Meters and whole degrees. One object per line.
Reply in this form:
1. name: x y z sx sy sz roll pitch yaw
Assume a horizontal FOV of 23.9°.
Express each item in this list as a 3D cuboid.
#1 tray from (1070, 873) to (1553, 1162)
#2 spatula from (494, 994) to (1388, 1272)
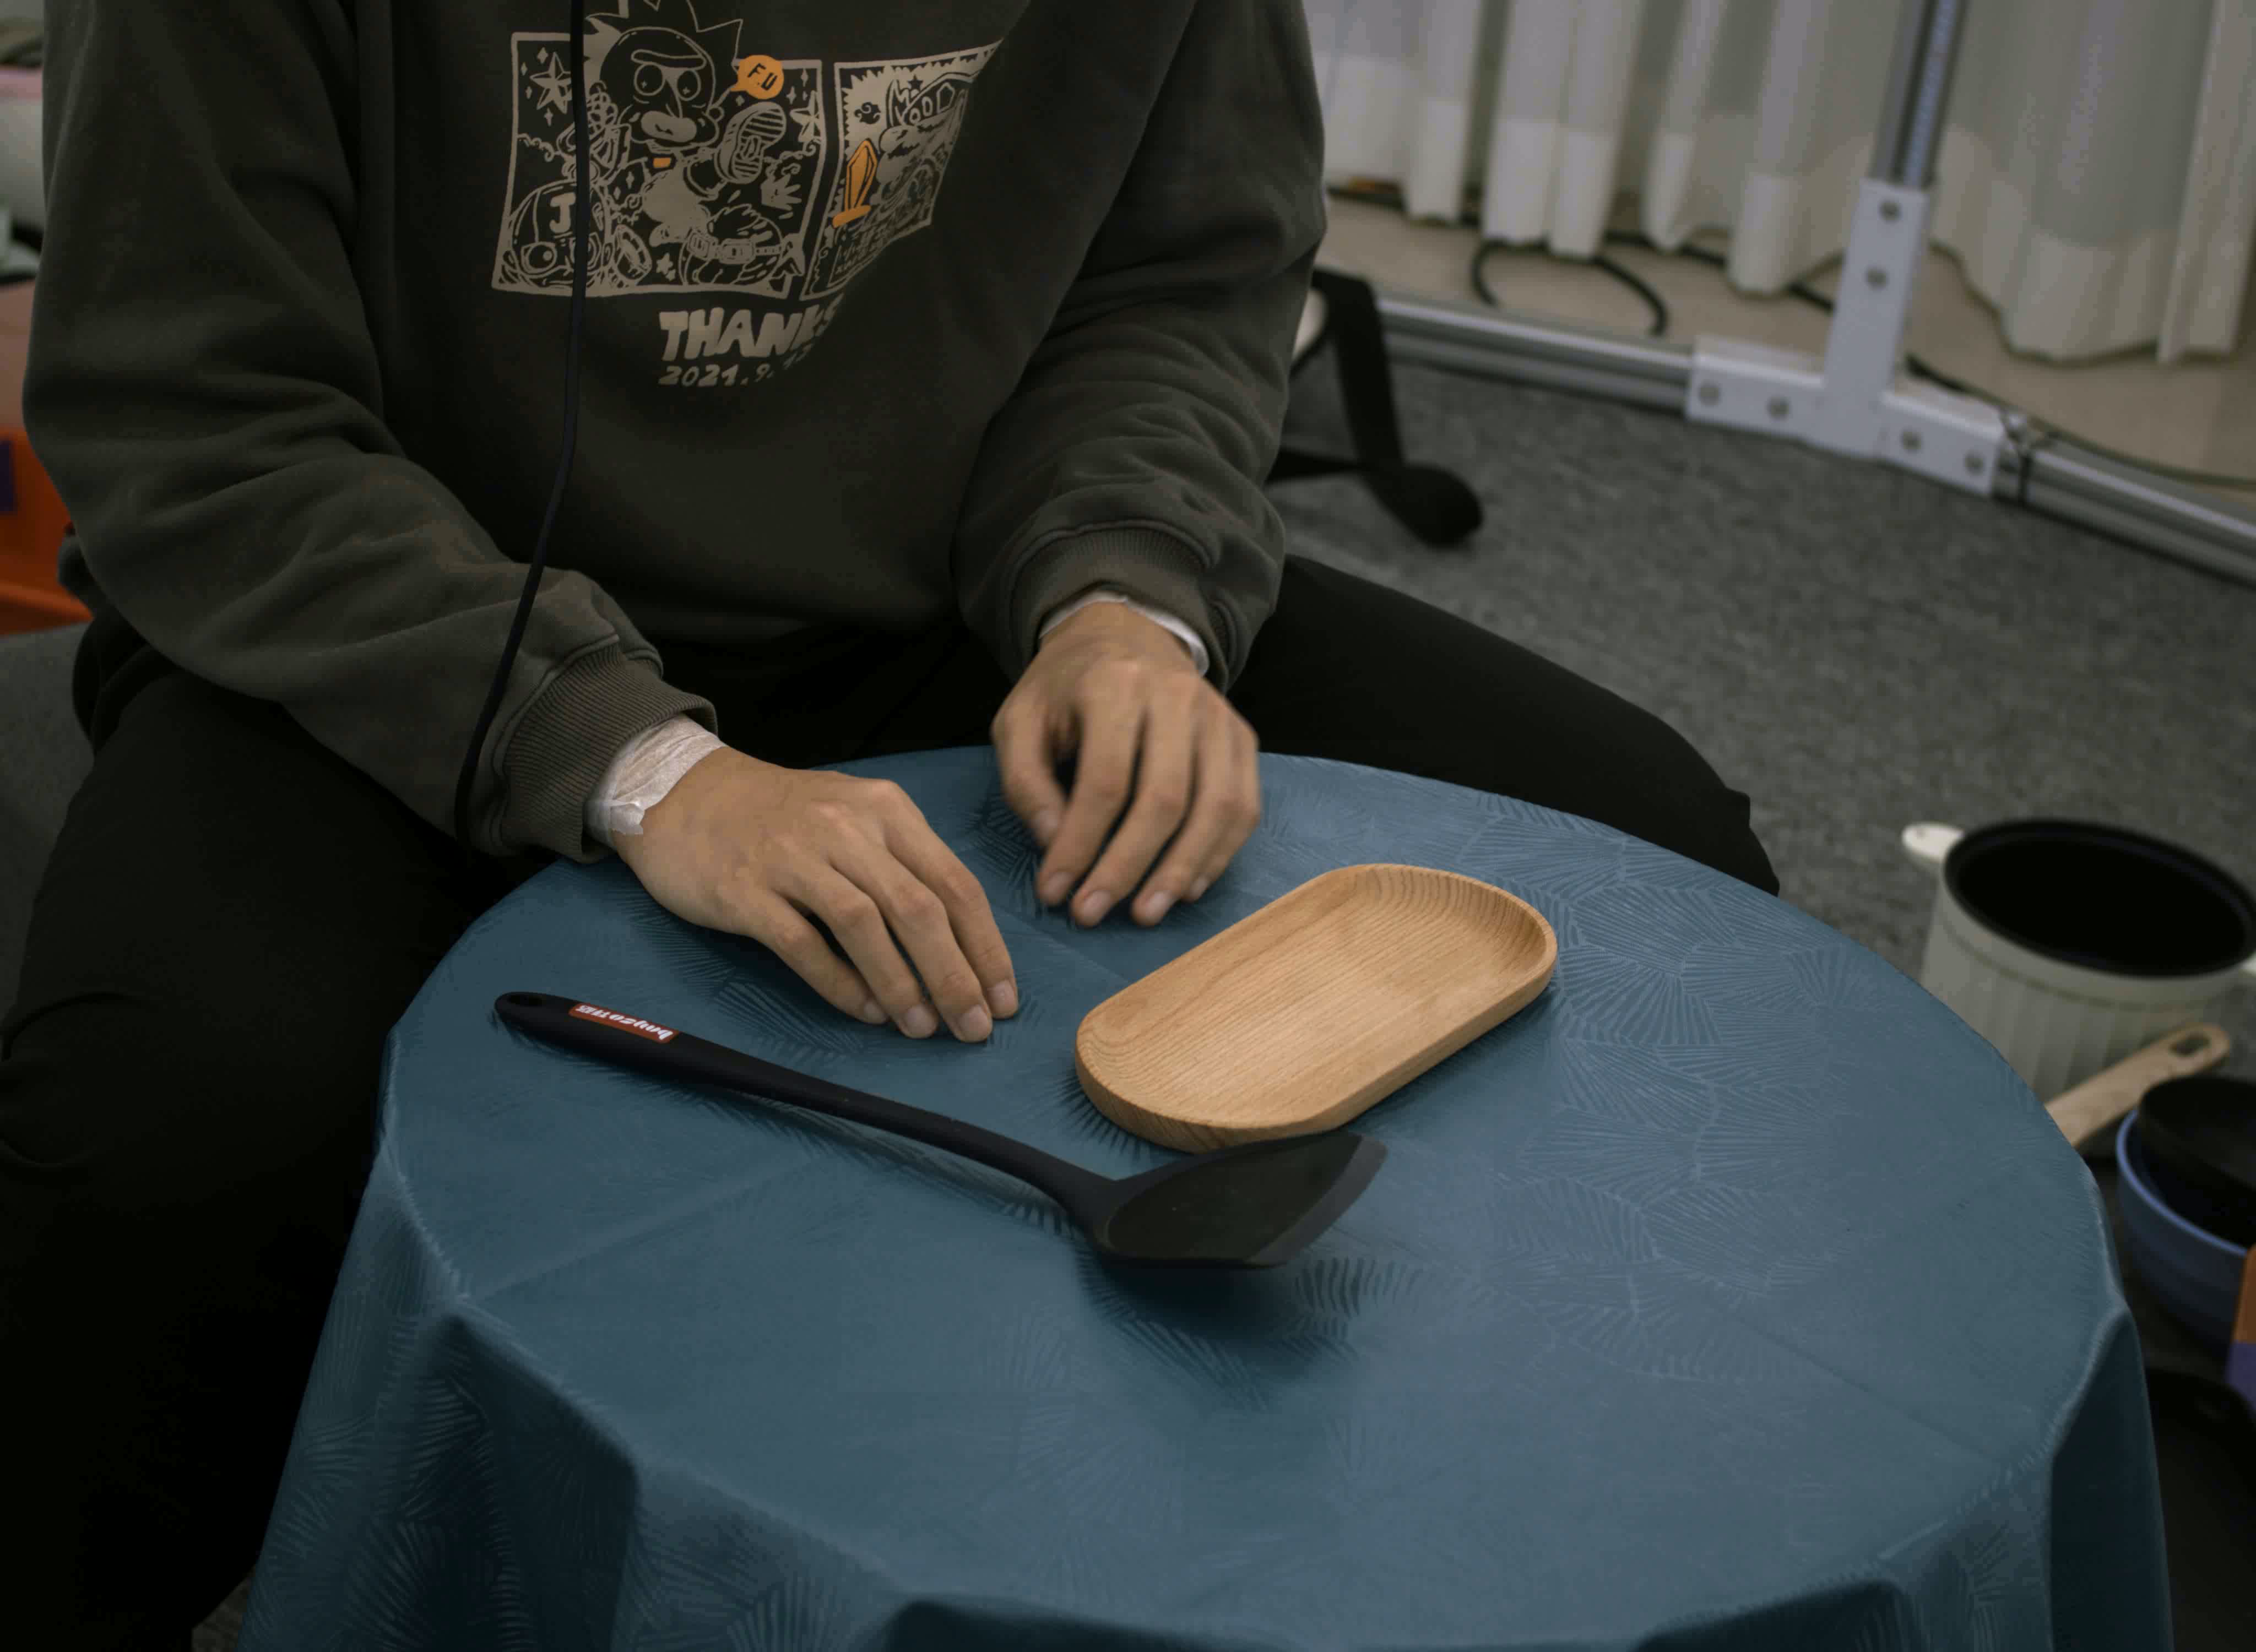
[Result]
1. tray: 0.068 0.068 1.914 0.102 0.020 0.230 22 32 30
2. spatula: -0.074 0.095 1.803 0.327 0.040 0.099 18 27 21
